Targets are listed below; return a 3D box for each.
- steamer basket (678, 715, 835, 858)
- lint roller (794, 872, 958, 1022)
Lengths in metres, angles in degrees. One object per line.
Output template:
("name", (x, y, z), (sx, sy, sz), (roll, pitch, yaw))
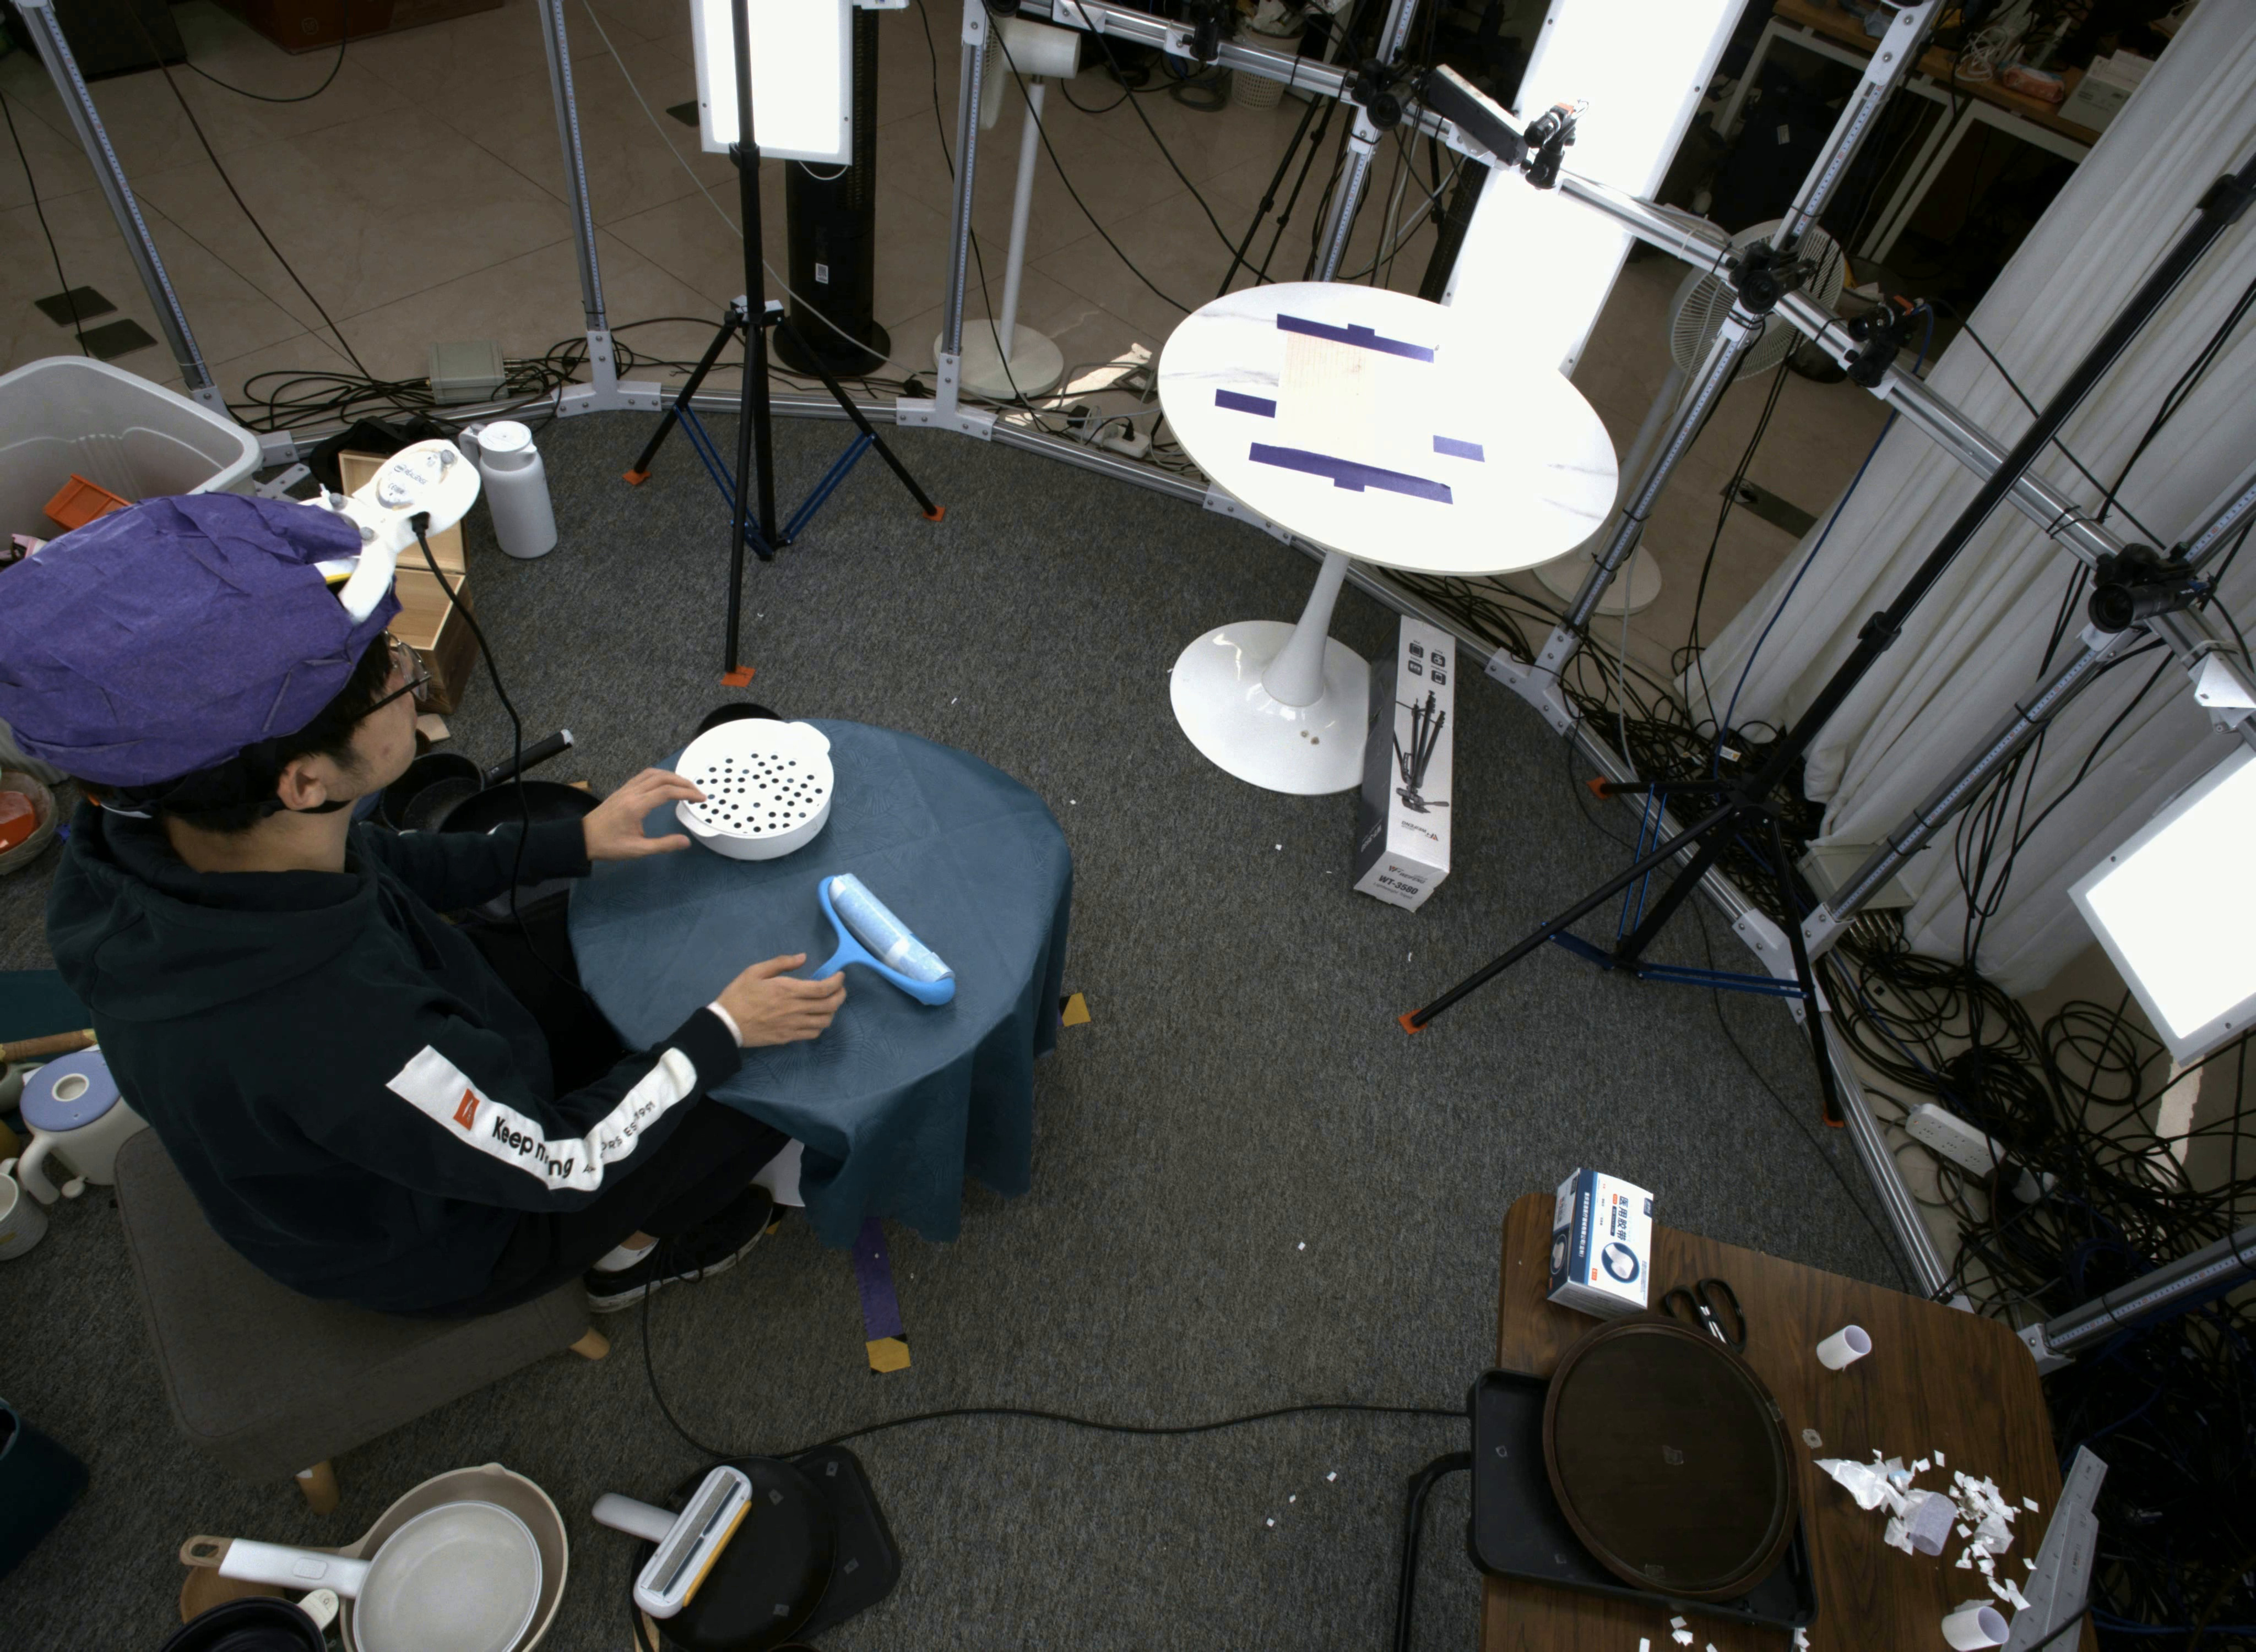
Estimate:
("steamer basket", (-0.488, -0.051, 1.707), (0.198, 0.070, 0.230), (35, 54, 13))
("lint roller", (-0.336, 0.167, 1.595), (0.225, 0.069, 0.180), (39, 53, 12))
